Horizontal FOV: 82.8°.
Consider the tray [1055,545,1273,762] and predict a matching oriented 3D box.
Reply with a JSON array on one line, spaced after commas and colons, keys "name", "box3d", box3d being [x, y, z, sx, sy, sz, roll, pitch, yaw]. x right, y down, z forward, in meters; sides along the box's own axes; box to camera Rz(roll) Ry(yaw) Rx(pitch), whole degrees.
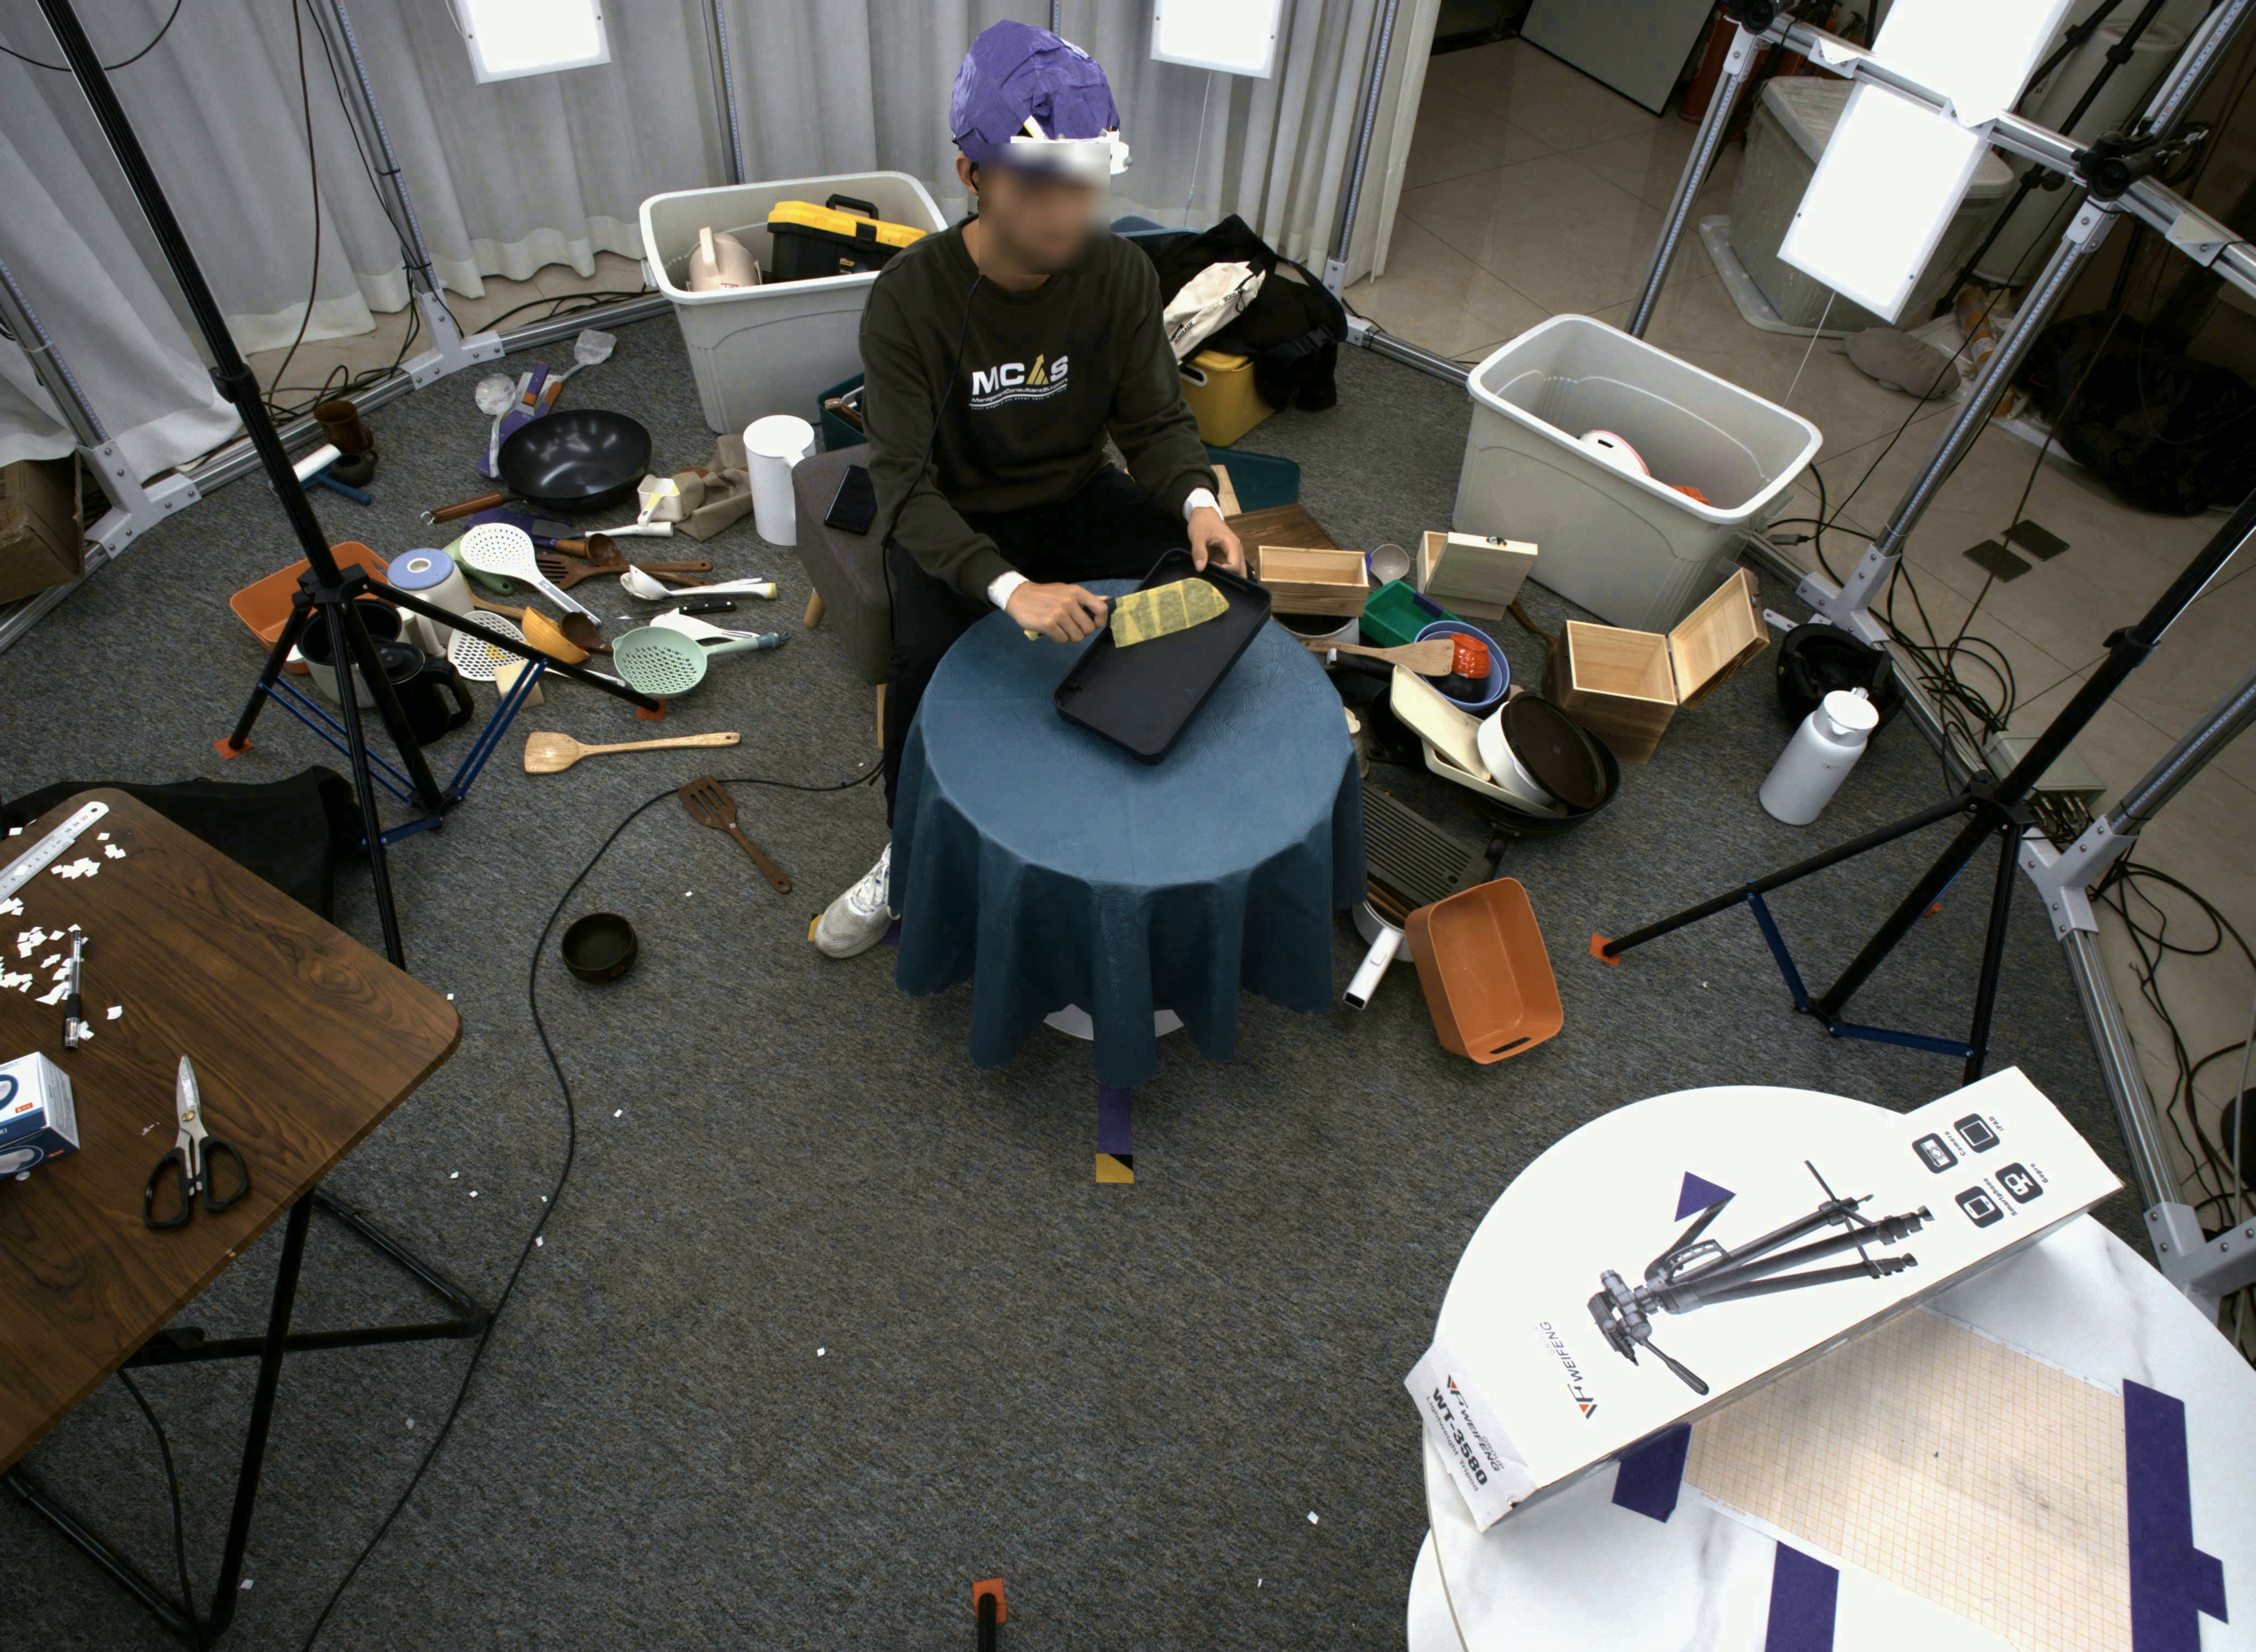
[{"name": "tray", "box3d": [0.054, -0.248, 1.810, 0.186, 0.036, 0.322, 27, 68, 21]}]

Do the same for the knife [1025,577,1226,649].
[{"name": "knife", "box3d": [-0.001, -0.292, 1.818, 0.289, 0.079, 0.028, -13, 26, -4]}]
